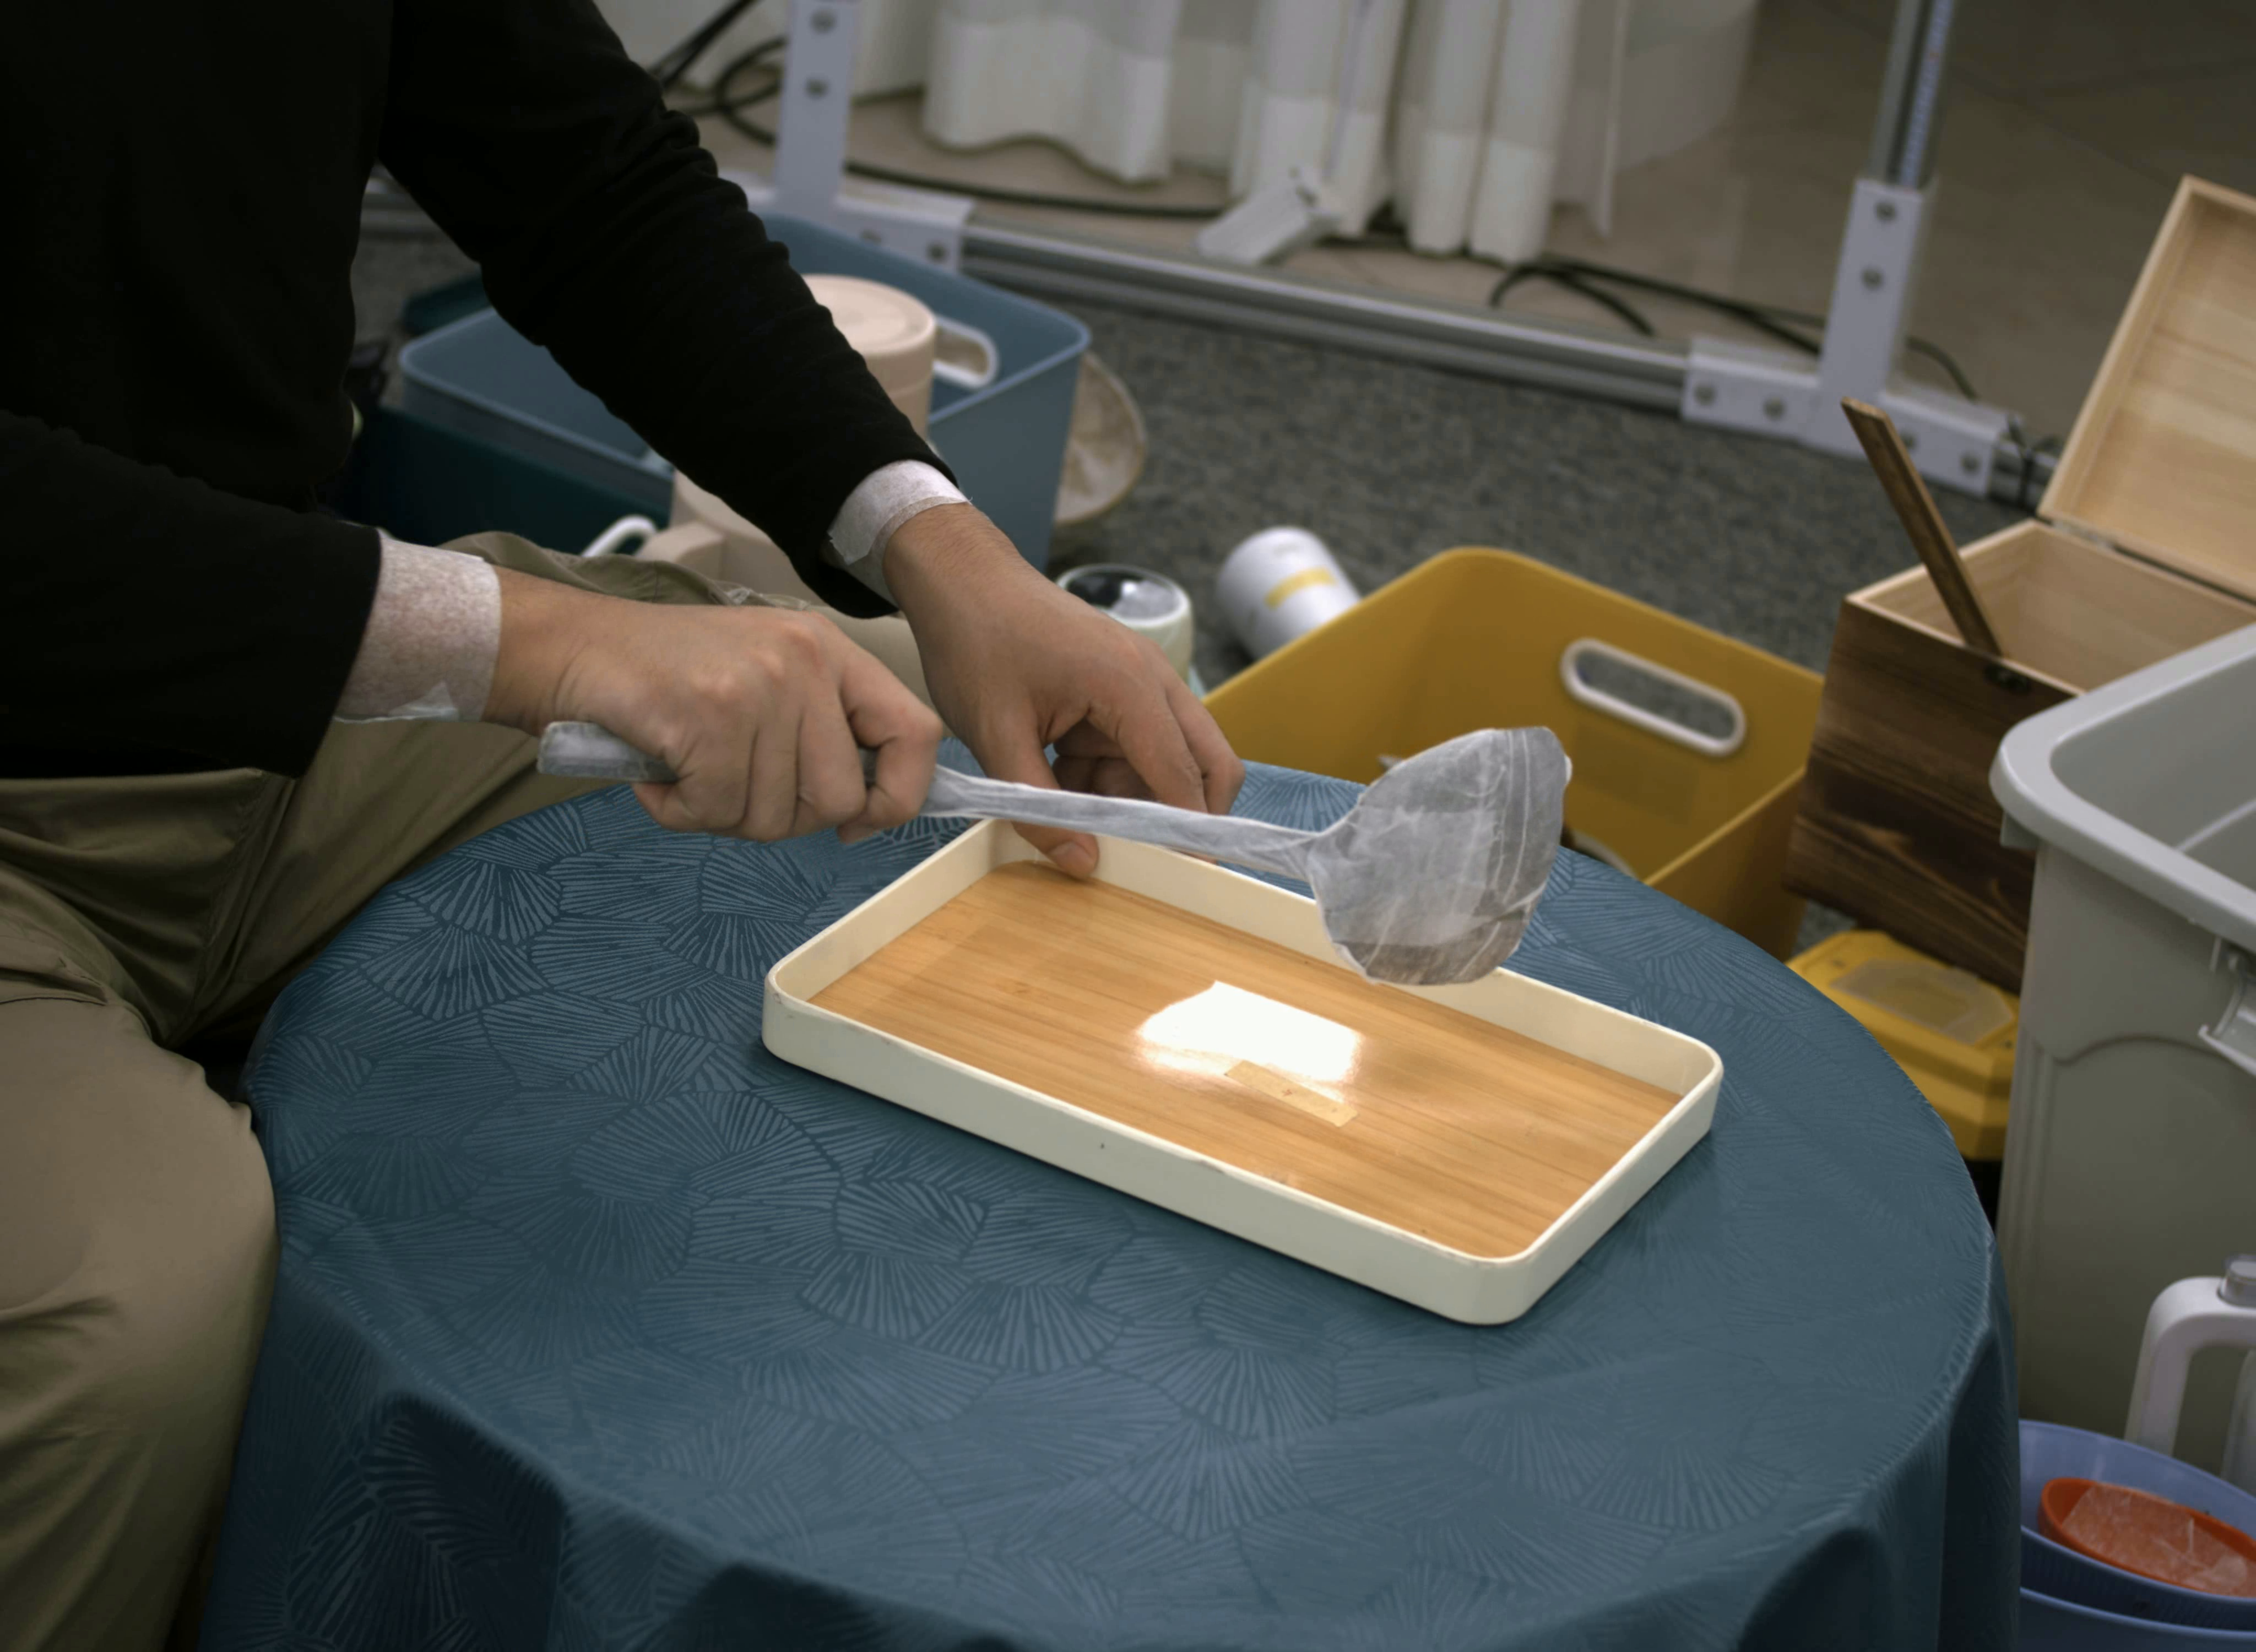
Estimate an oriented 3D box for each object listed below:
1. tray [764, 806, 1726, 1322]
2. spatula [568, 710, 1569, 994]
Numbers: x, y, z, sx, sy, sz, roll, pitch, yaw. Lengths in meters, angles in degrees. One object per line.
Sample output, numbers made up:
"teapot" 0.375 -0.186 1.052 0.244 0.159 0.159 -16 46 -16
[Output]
"tray" 0.041 0.079 1.869 0.301 0.027 0.191 20 30 24
"spatula" -0.014 -0.007 1.777 0.362 0.098 0.045 10 17 -19
